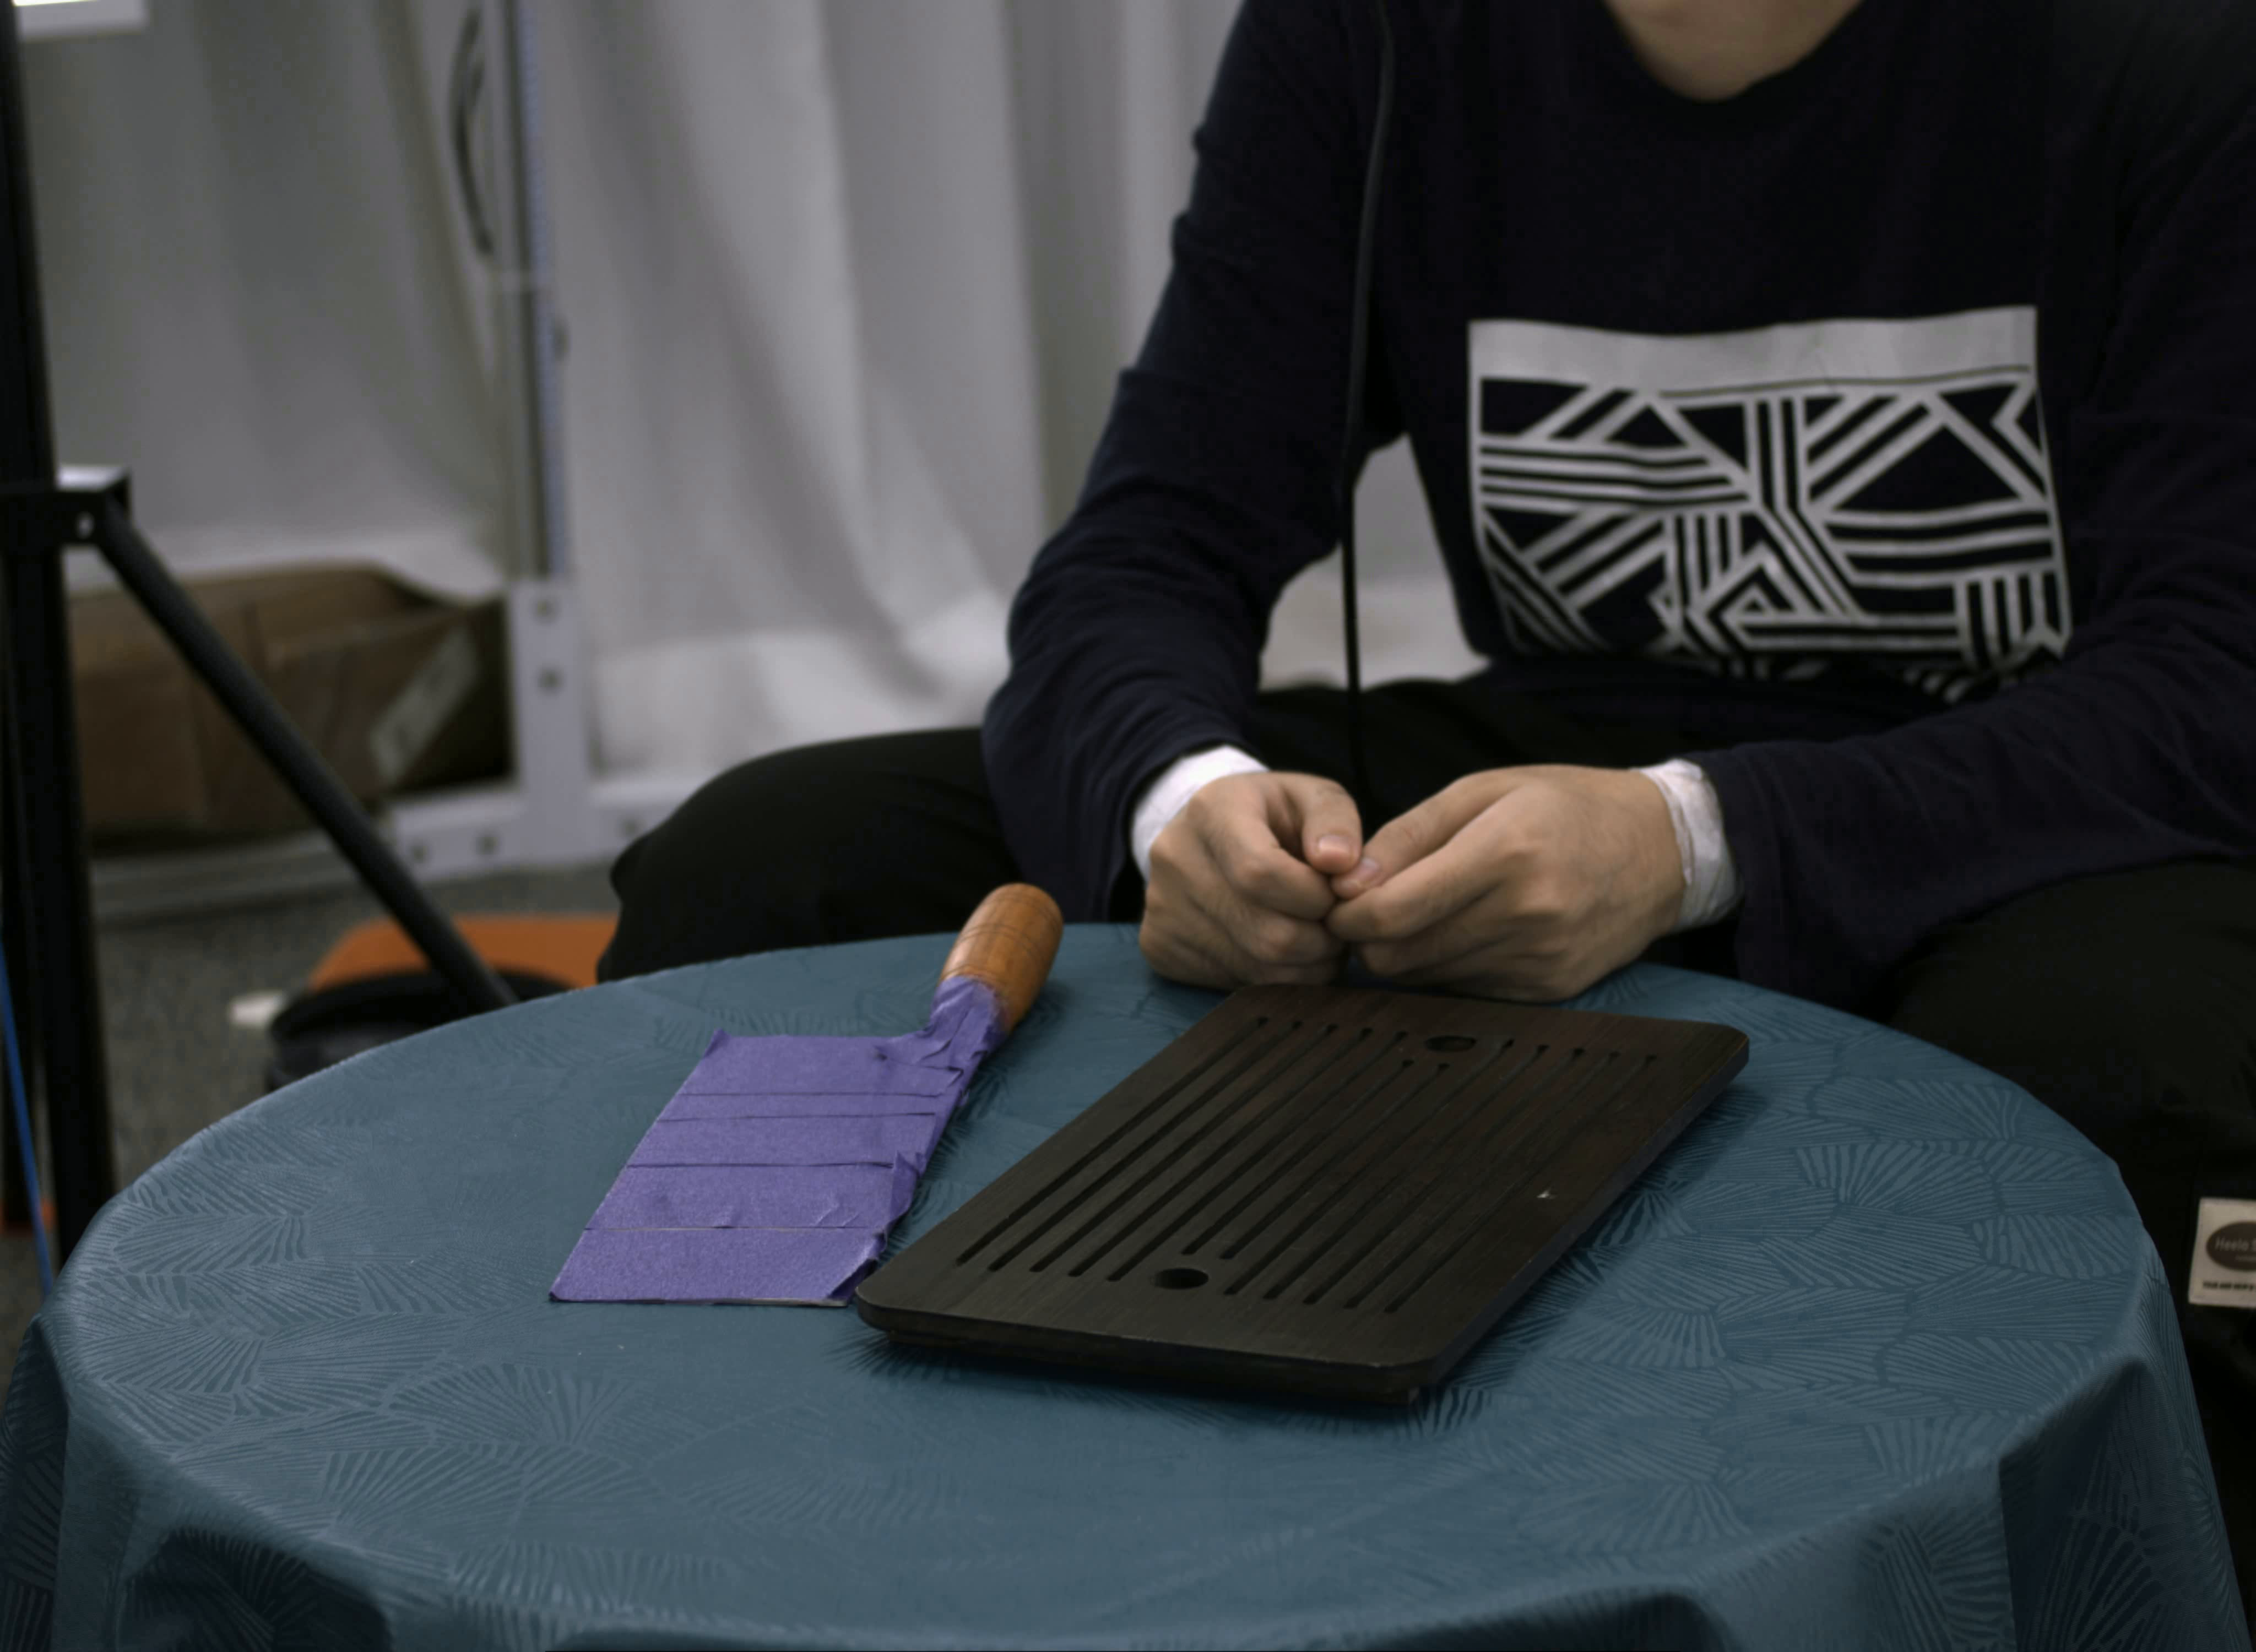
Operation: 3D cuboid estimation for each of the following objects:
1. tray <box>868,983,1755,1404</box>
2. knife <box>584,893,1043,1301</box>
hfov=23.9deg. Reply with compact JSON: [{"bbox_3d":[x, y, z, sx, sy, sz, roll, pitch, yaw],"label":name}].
[{"bbox_3d":[0.061,0.103,1.536,0.172,0.018,0.301,4,17,23],"label":"tray"},{"bbox_3d":[-0.094,0.079,1.628,0.104,0.032,0.314,1,16,9],"label":"knife"}]
